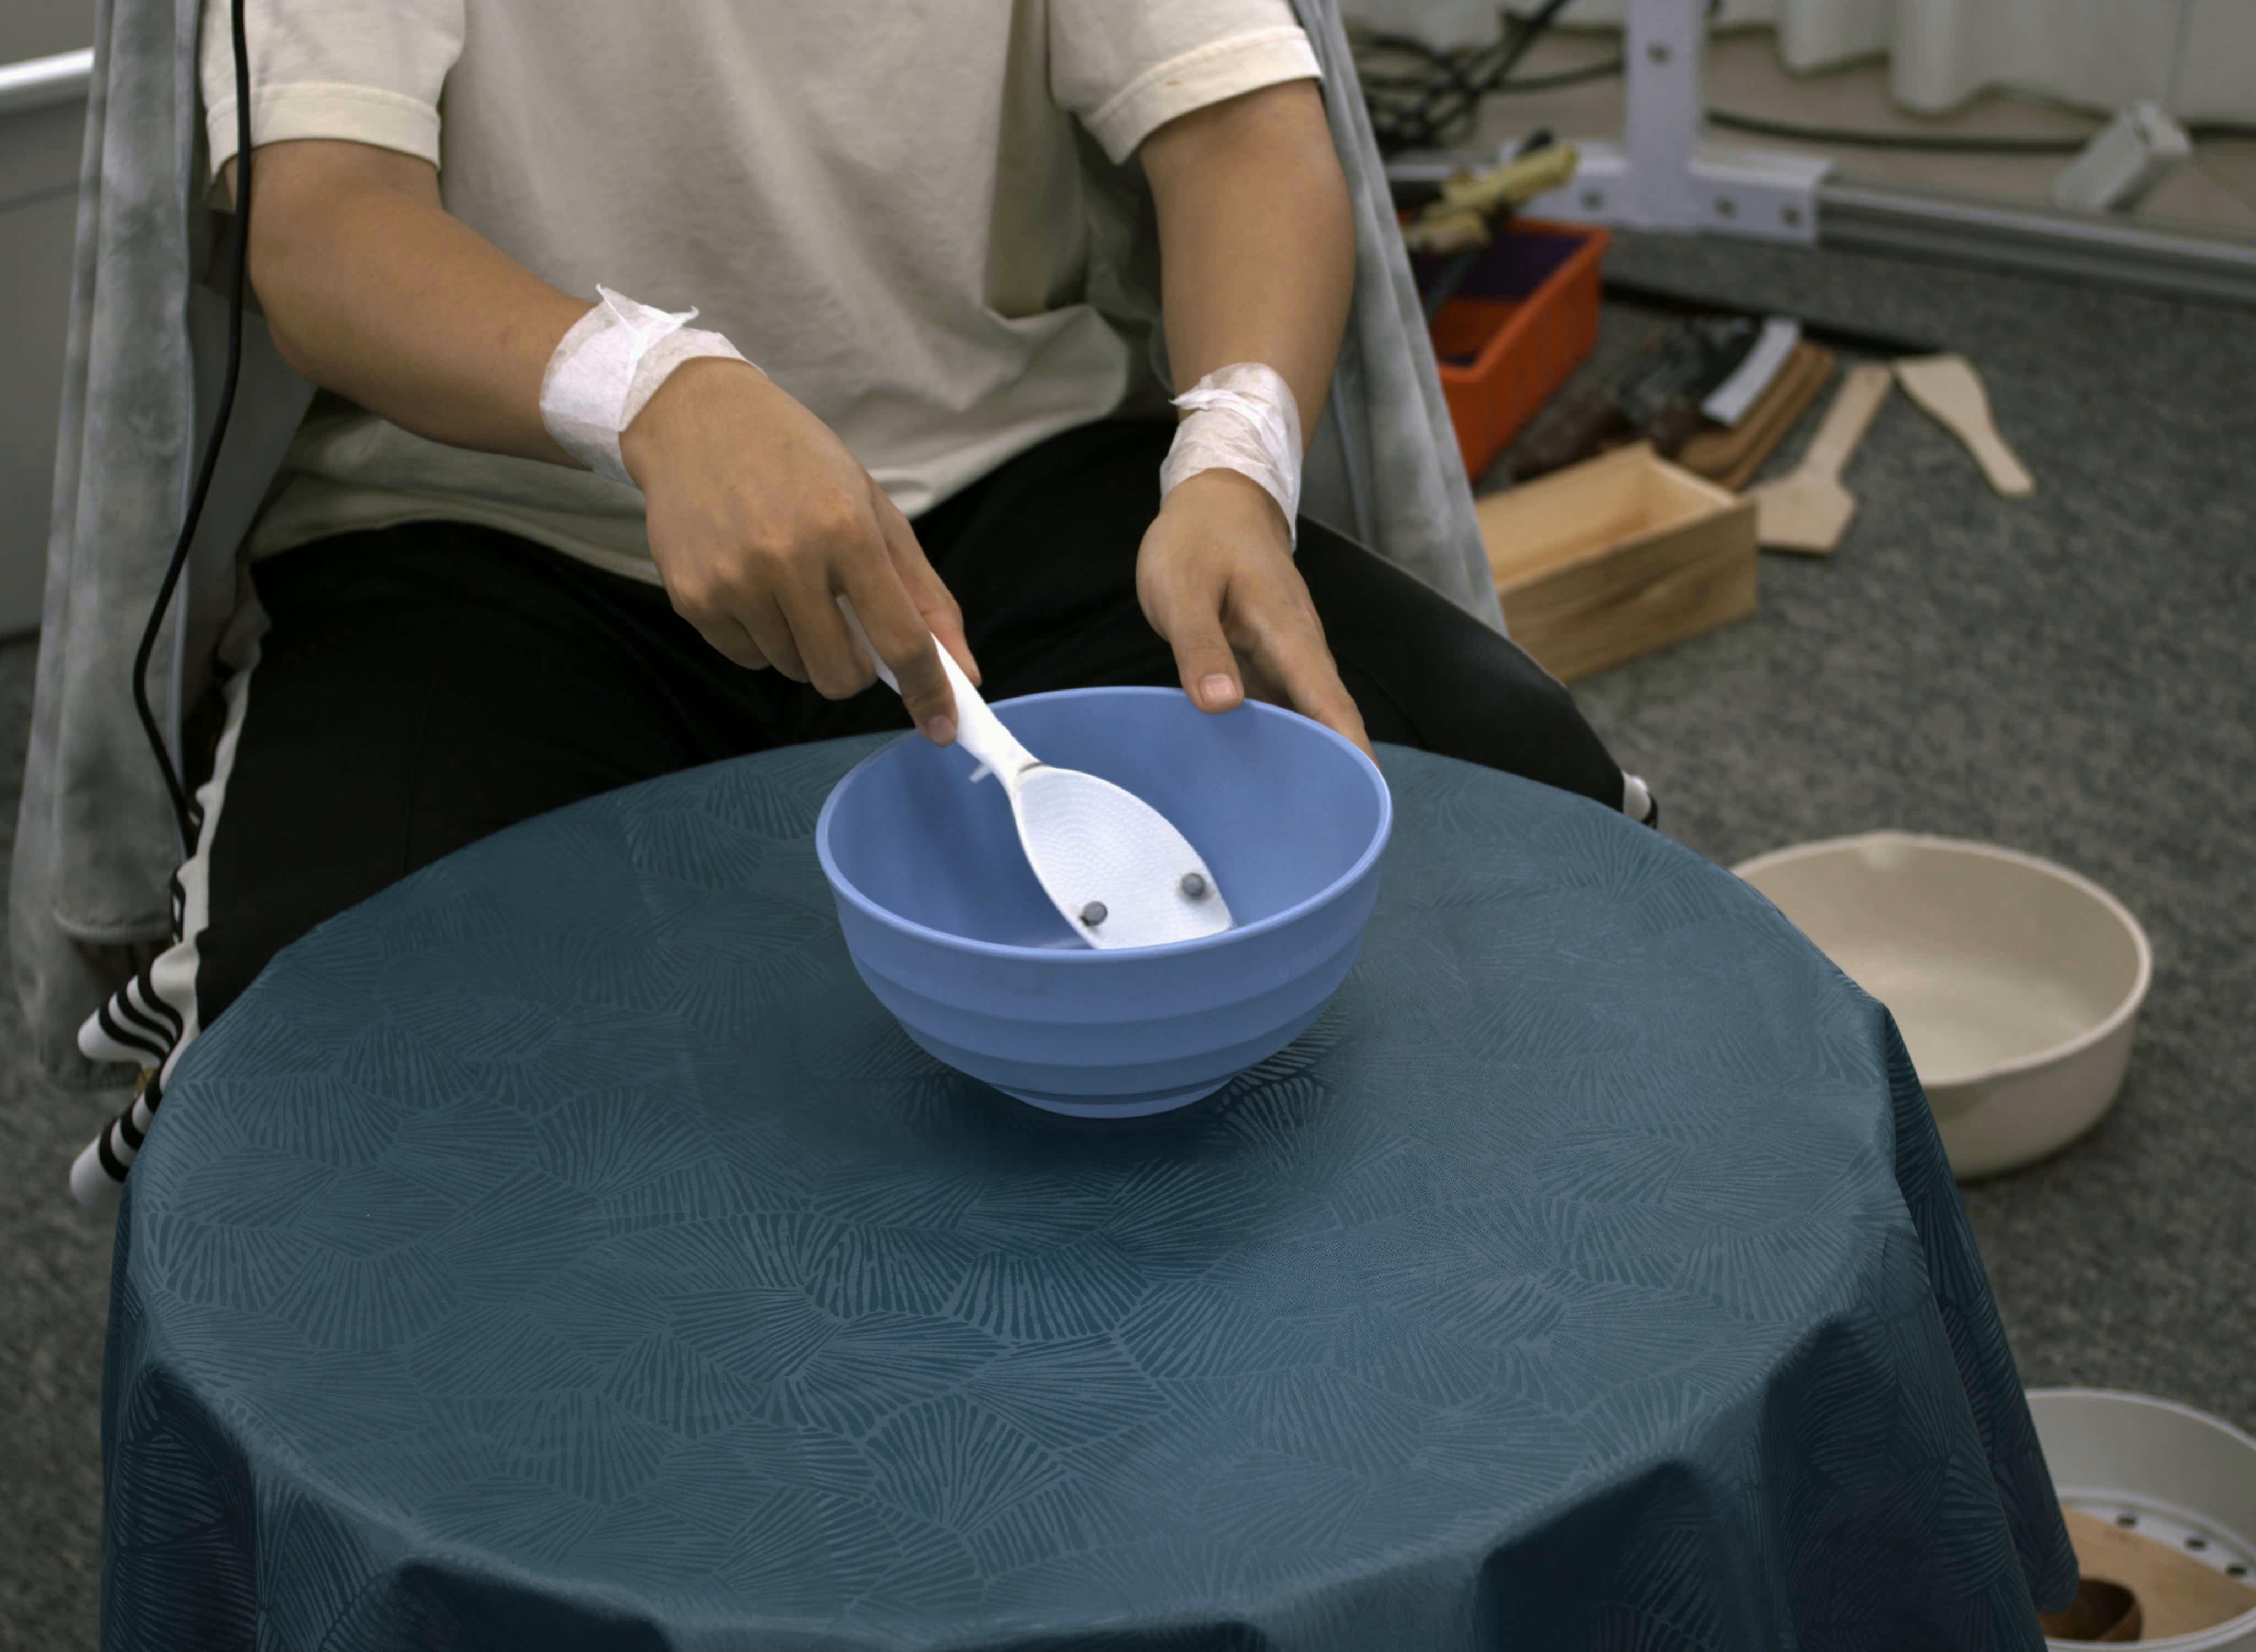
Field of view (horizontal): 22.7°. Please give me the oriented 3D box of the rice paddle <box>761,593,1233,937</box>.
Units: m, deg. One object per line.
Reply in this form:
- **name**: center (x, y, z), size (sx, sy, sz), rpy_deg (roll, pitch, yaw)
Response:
- **rice paddle**: center (-0.036, -0.012, 1.958), size (0.204, 0.029, 0.070), rpy_deg (35, 34, -12)

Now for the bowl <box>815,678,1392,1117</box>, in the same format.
- **bowl**: center (-0.006, 0.035, 1.923), size (0.195, 0.094, 0.199), rpy_deg (-3, 29, 2)
